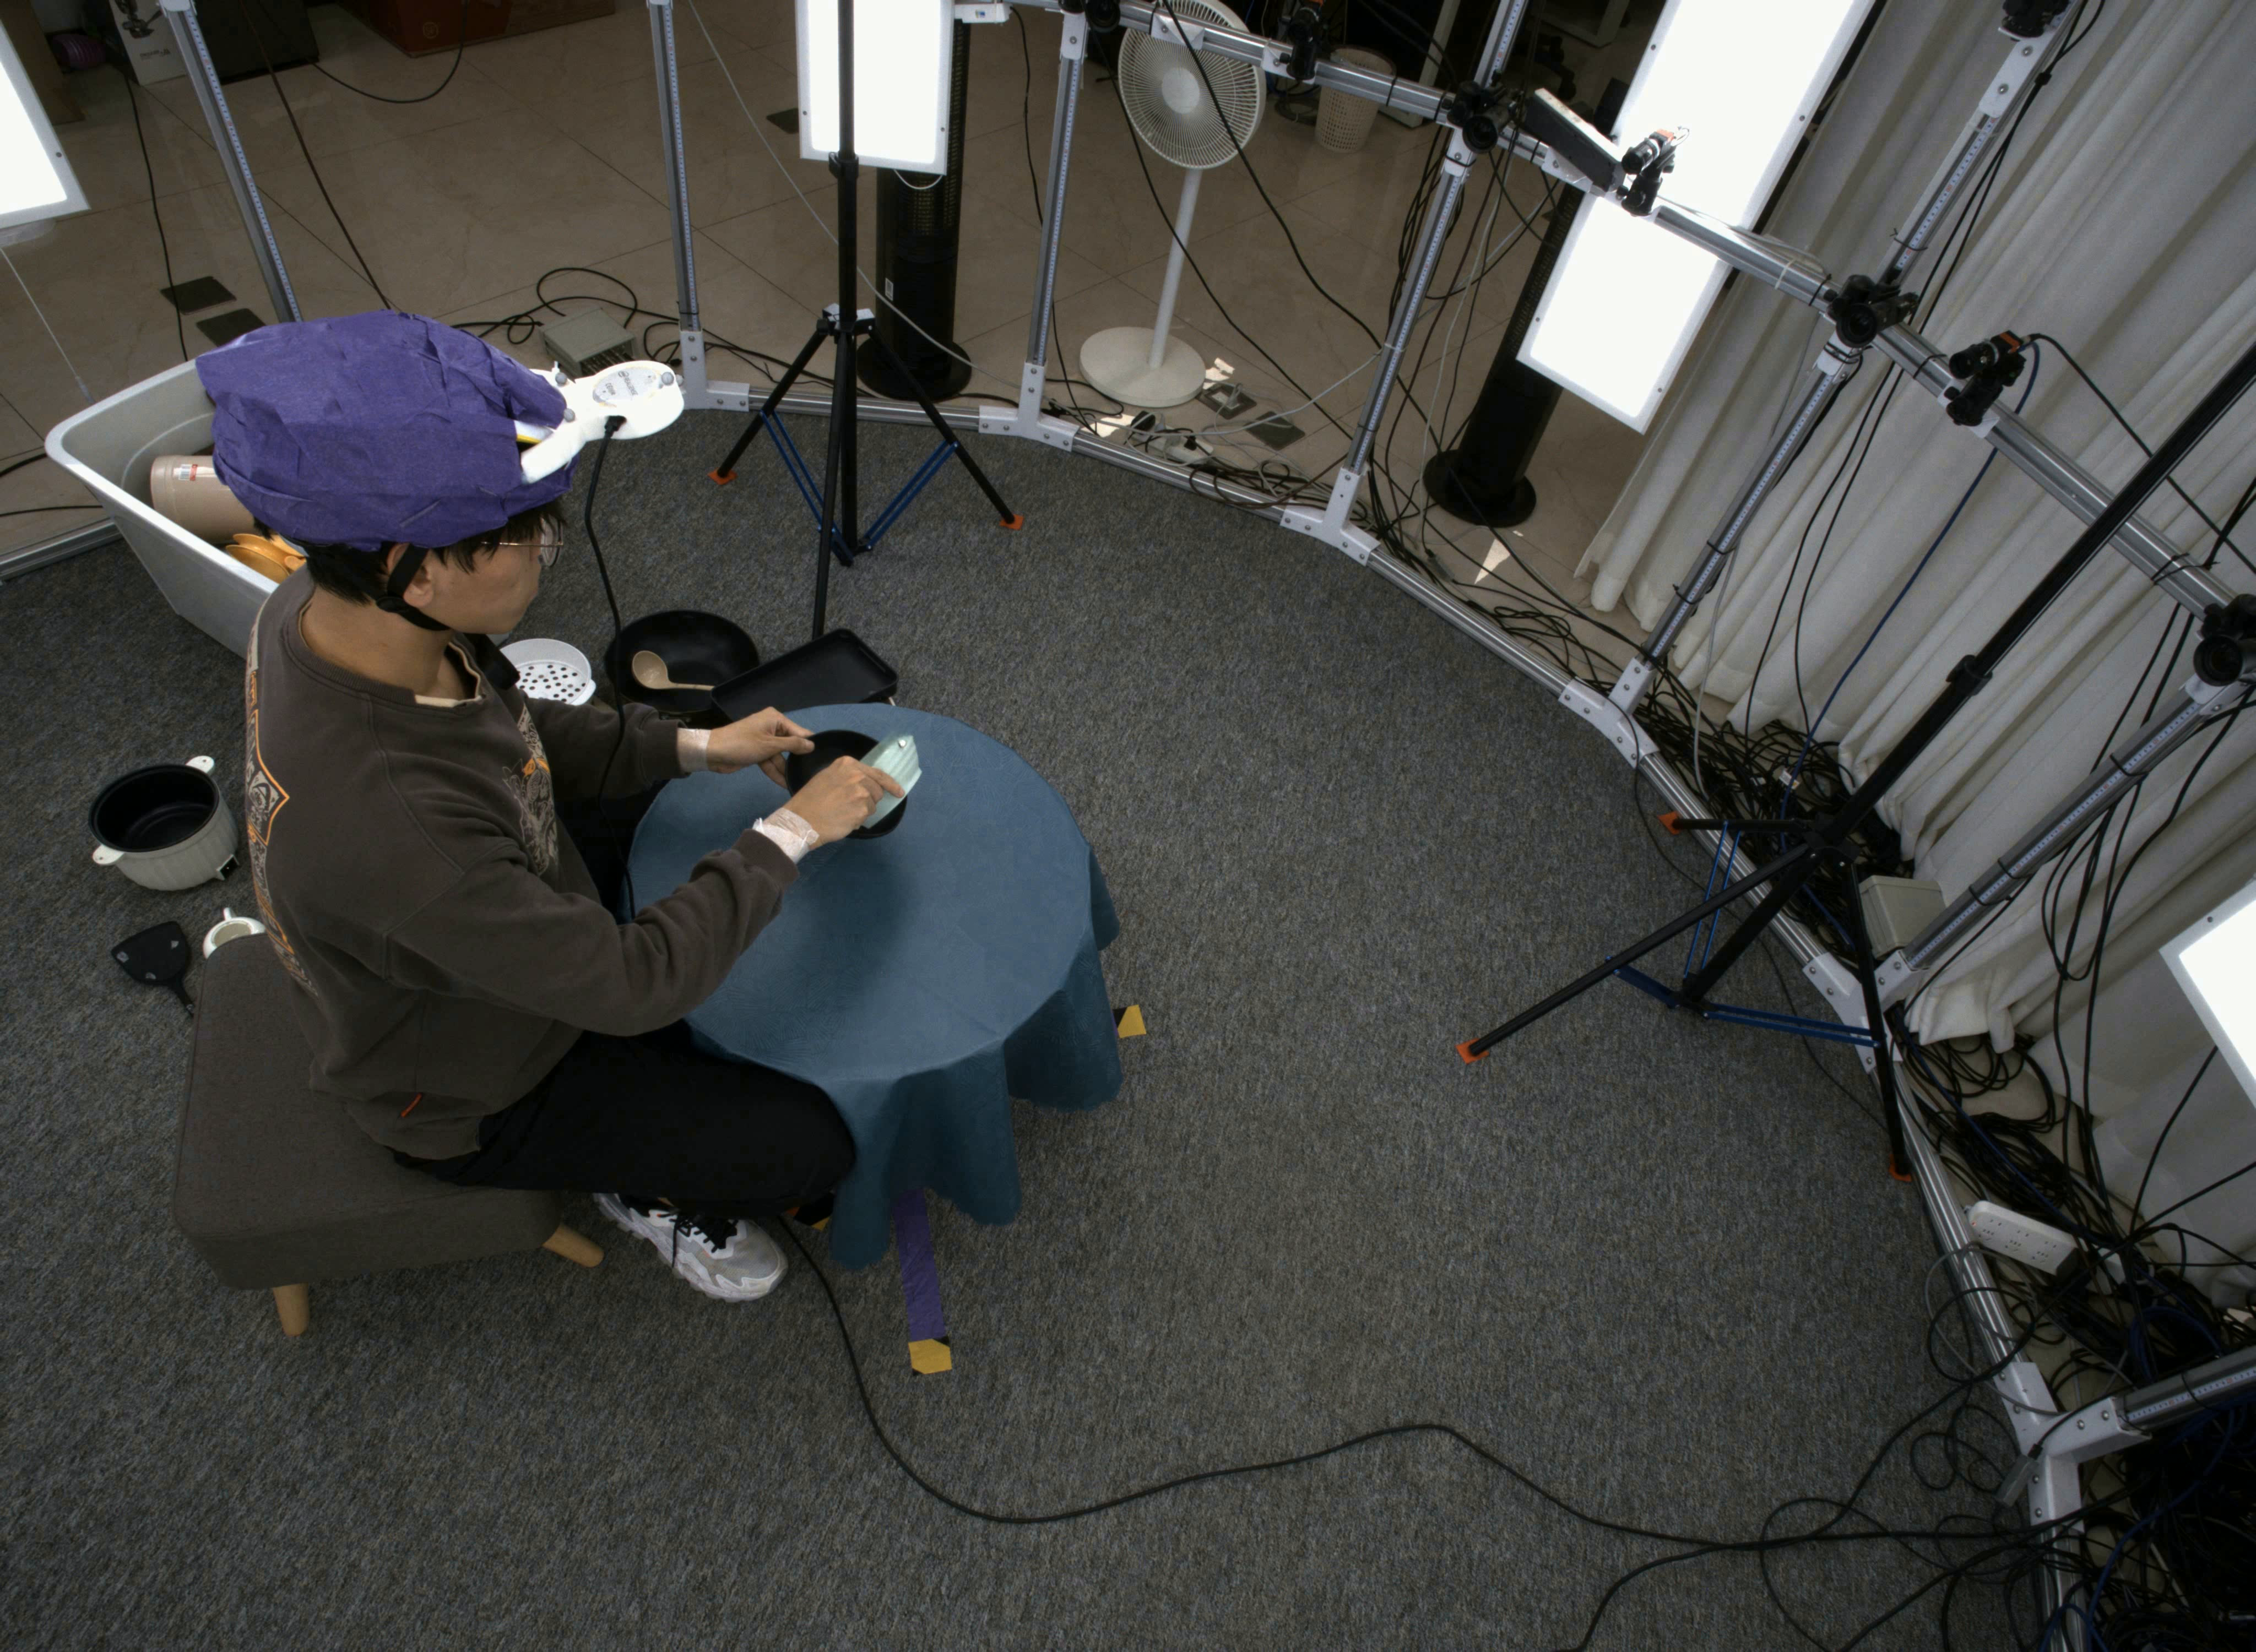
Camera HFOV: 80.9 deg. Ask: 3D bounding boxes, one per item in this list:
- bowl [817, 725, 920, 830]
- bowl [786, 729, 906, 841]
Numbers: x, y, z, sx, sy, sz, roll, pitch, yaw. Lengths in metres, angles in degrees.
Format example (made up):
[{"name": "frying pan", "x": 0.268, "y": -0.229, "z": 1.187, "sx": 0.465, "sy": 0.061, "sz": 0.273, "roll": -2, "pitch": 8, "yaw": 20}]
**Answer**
[{"name": "bowl", "x": -0.311, "y": -0.052, "z": 1.604, "sx": 0.060, "sy": 0.149, "sz": 0.151, "roll": 45, "pitch": 51, "yaw": -14}, {"name": "bowl", "x": -0.362, "y": -0.044, "z": 1.673, "sx": 0.168, "sy": 0.067, "sz": 0.137, "roll": 40, "pitch": 61, "yaw": 9}]
